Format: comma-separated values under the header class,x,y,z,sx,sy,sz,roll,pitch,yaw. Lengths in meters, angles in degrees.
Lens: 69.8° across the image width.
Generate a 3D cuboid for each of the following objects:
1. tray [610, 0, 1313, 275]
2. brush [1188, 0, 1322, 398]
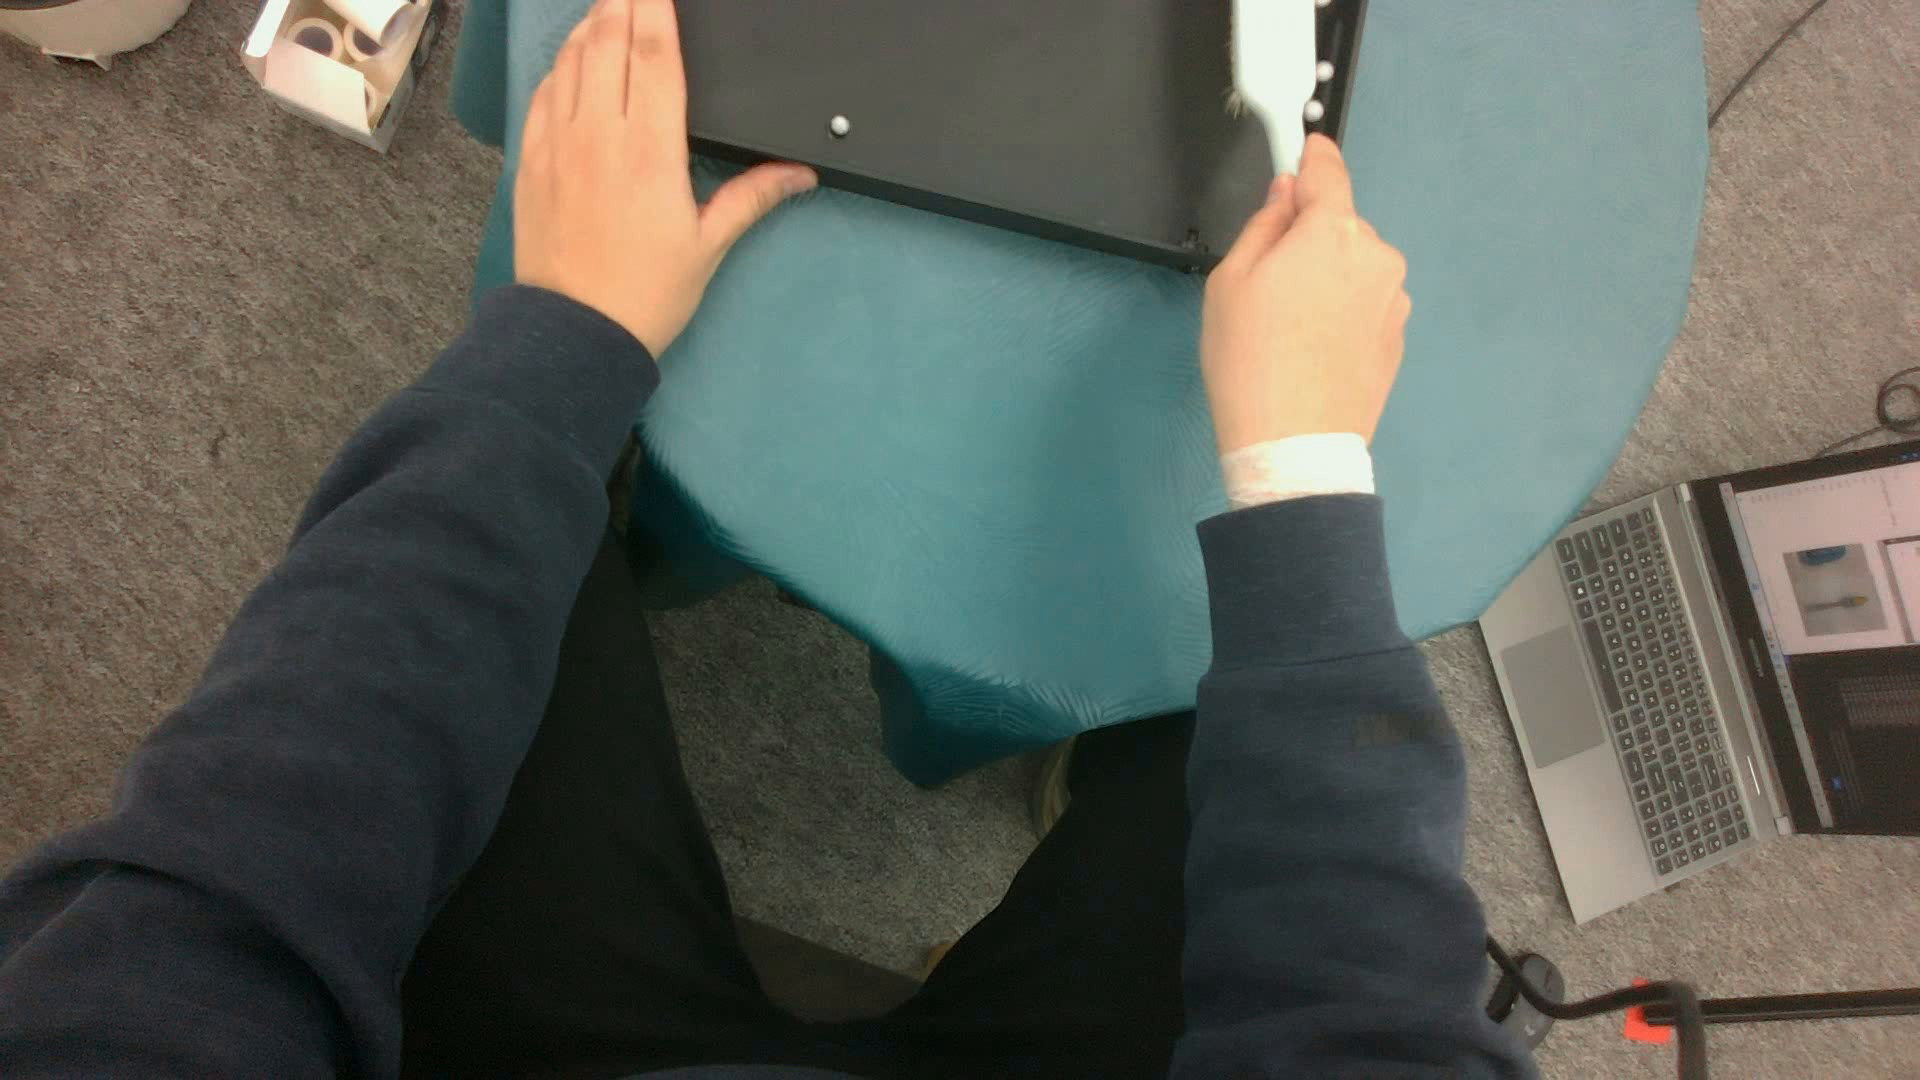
class,x,y,z,sx,sy,sz,roll,pitch,yaw
tray,0.007,-0.232,0.643,0.318,0.037,0.184,6,88,-11
brush,0.132,-0.172,0.614,0.038,0.049,0.229,-8,78,-5
